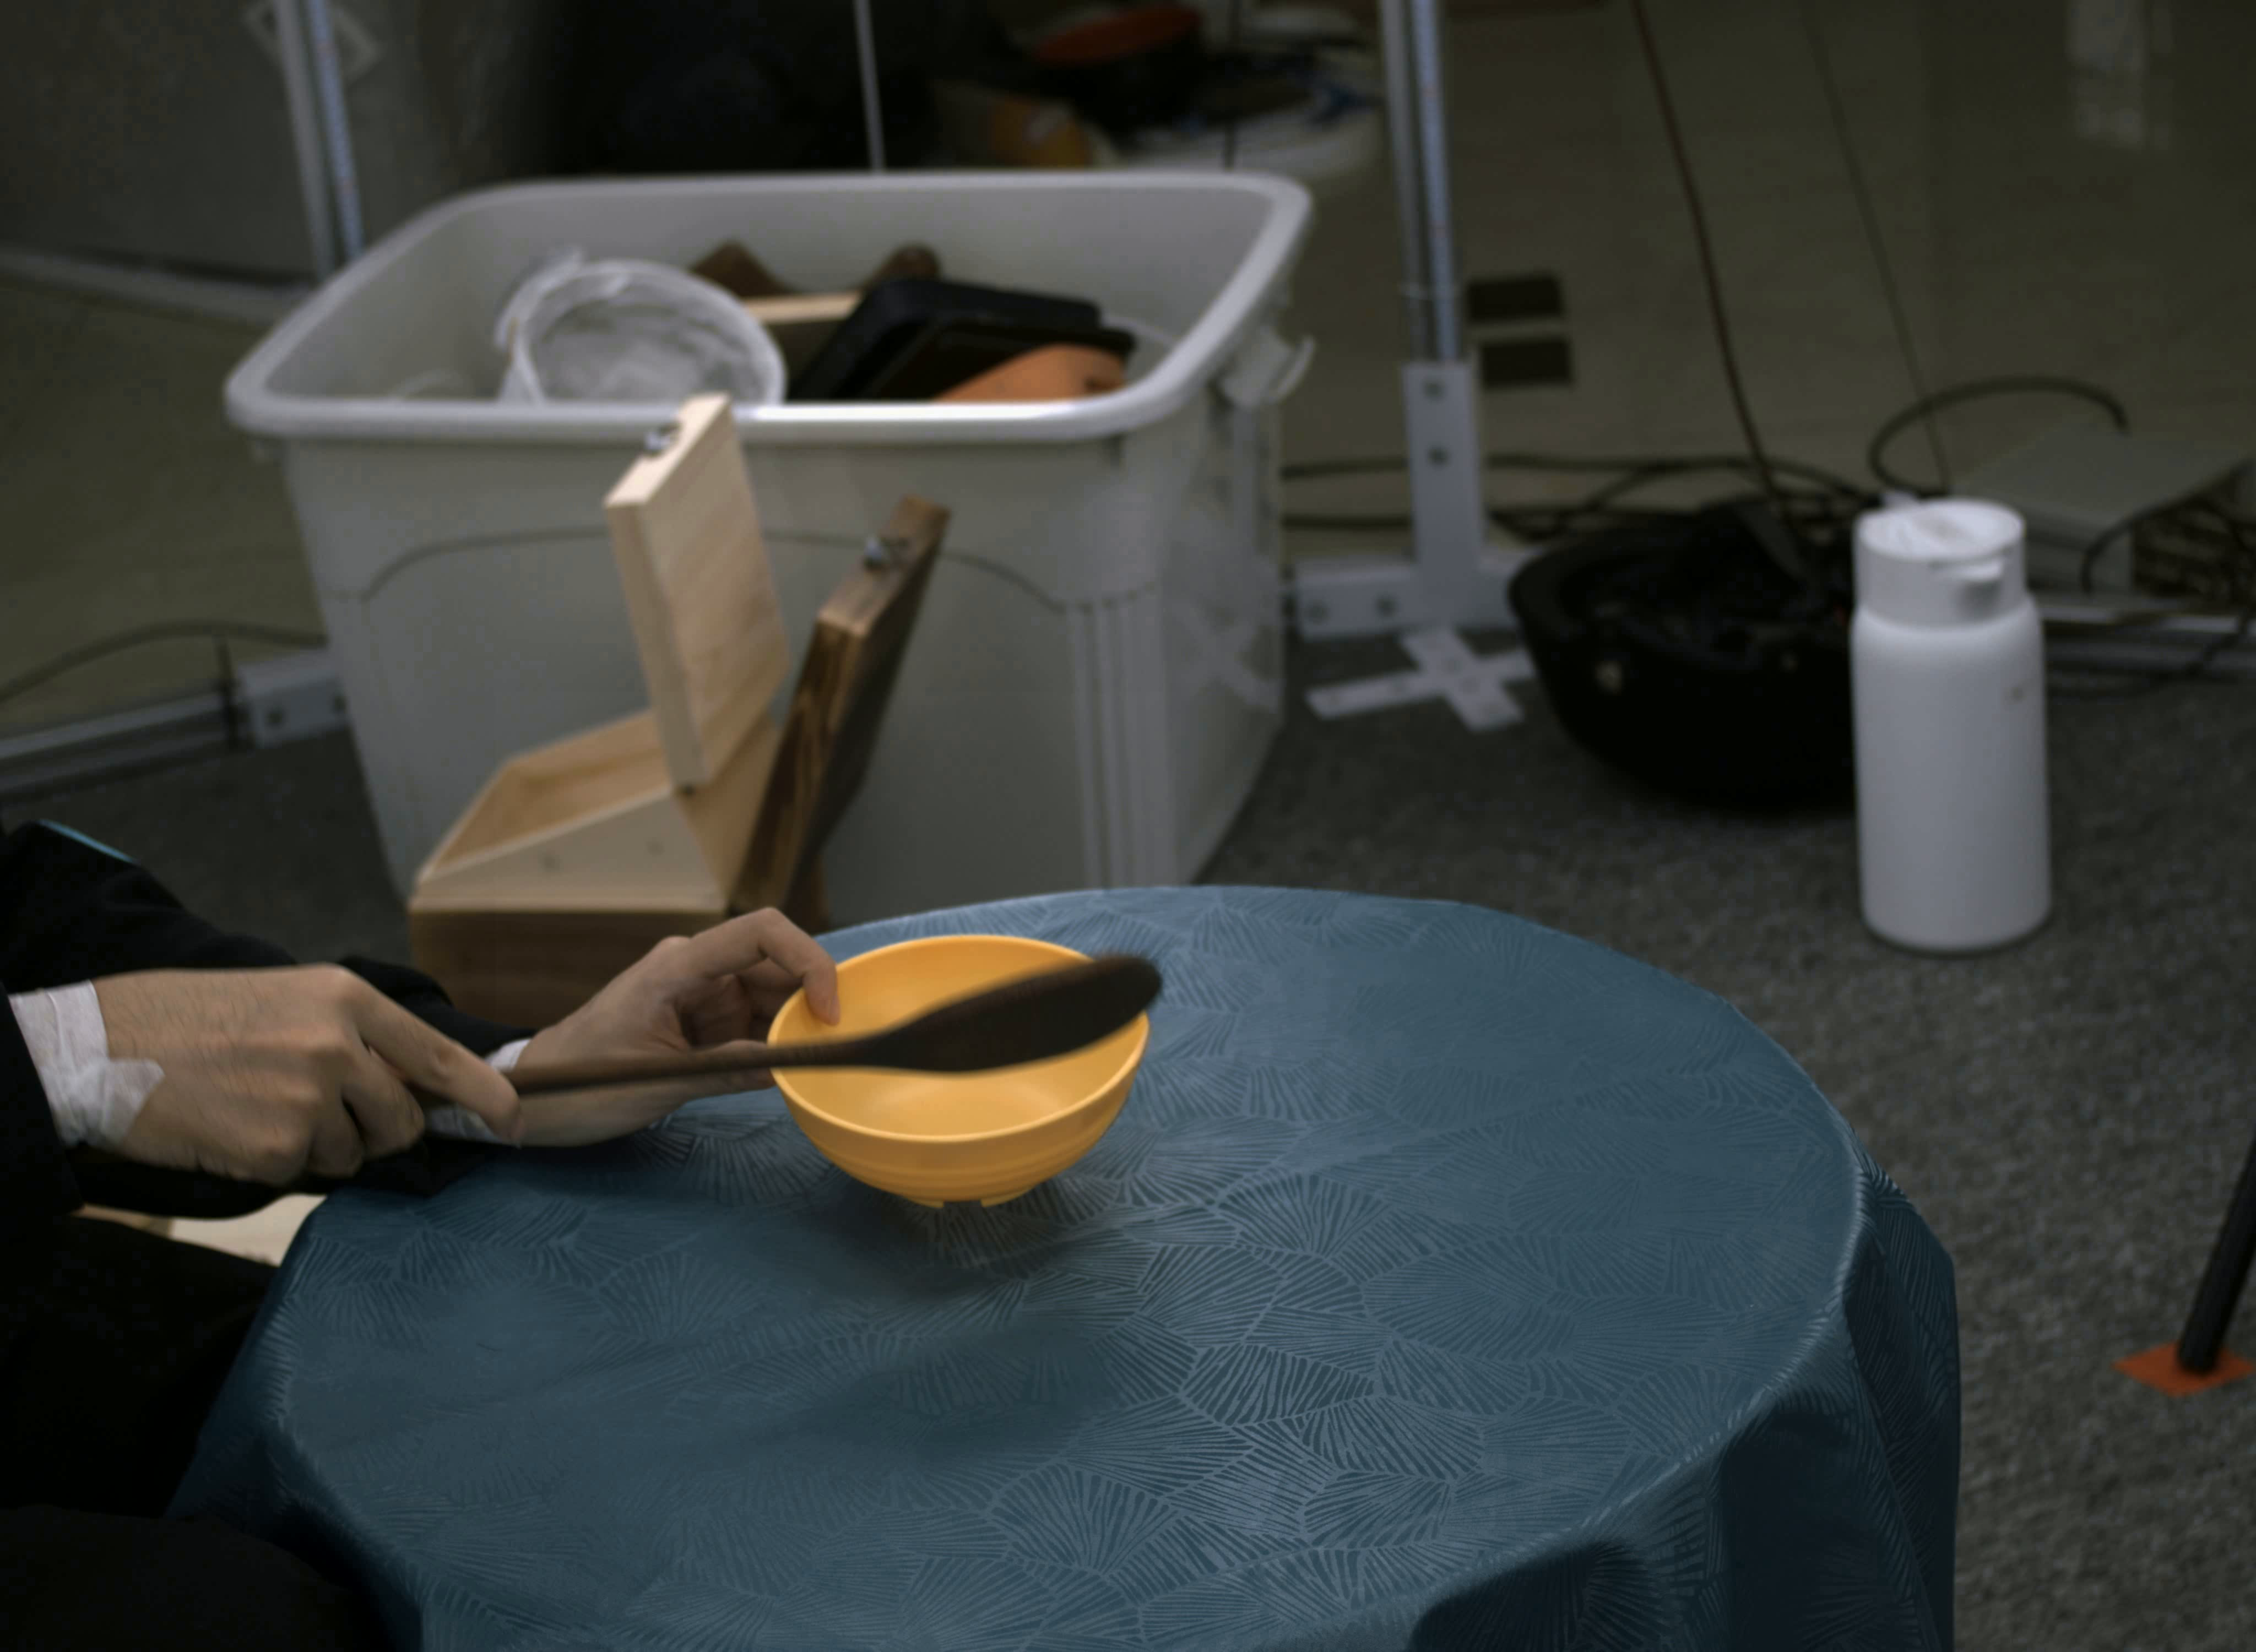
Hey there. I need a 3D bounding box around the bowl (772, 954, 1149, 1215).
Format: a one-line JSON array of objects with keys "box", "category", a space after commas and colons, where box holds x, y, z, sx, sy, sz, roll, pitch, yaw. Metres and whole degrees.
[{"box": [-0.062, 0.106, 2.153, 0.145, 0.061, 0.143, -2, 27, 1], "category": "bowl"}]

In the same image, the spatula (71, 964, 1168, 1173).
[{"box": [-0.175, 0.089, 1.979, 0.385, 0.015, 0.097, -6, -19, -9], "category": "spatula"}]
